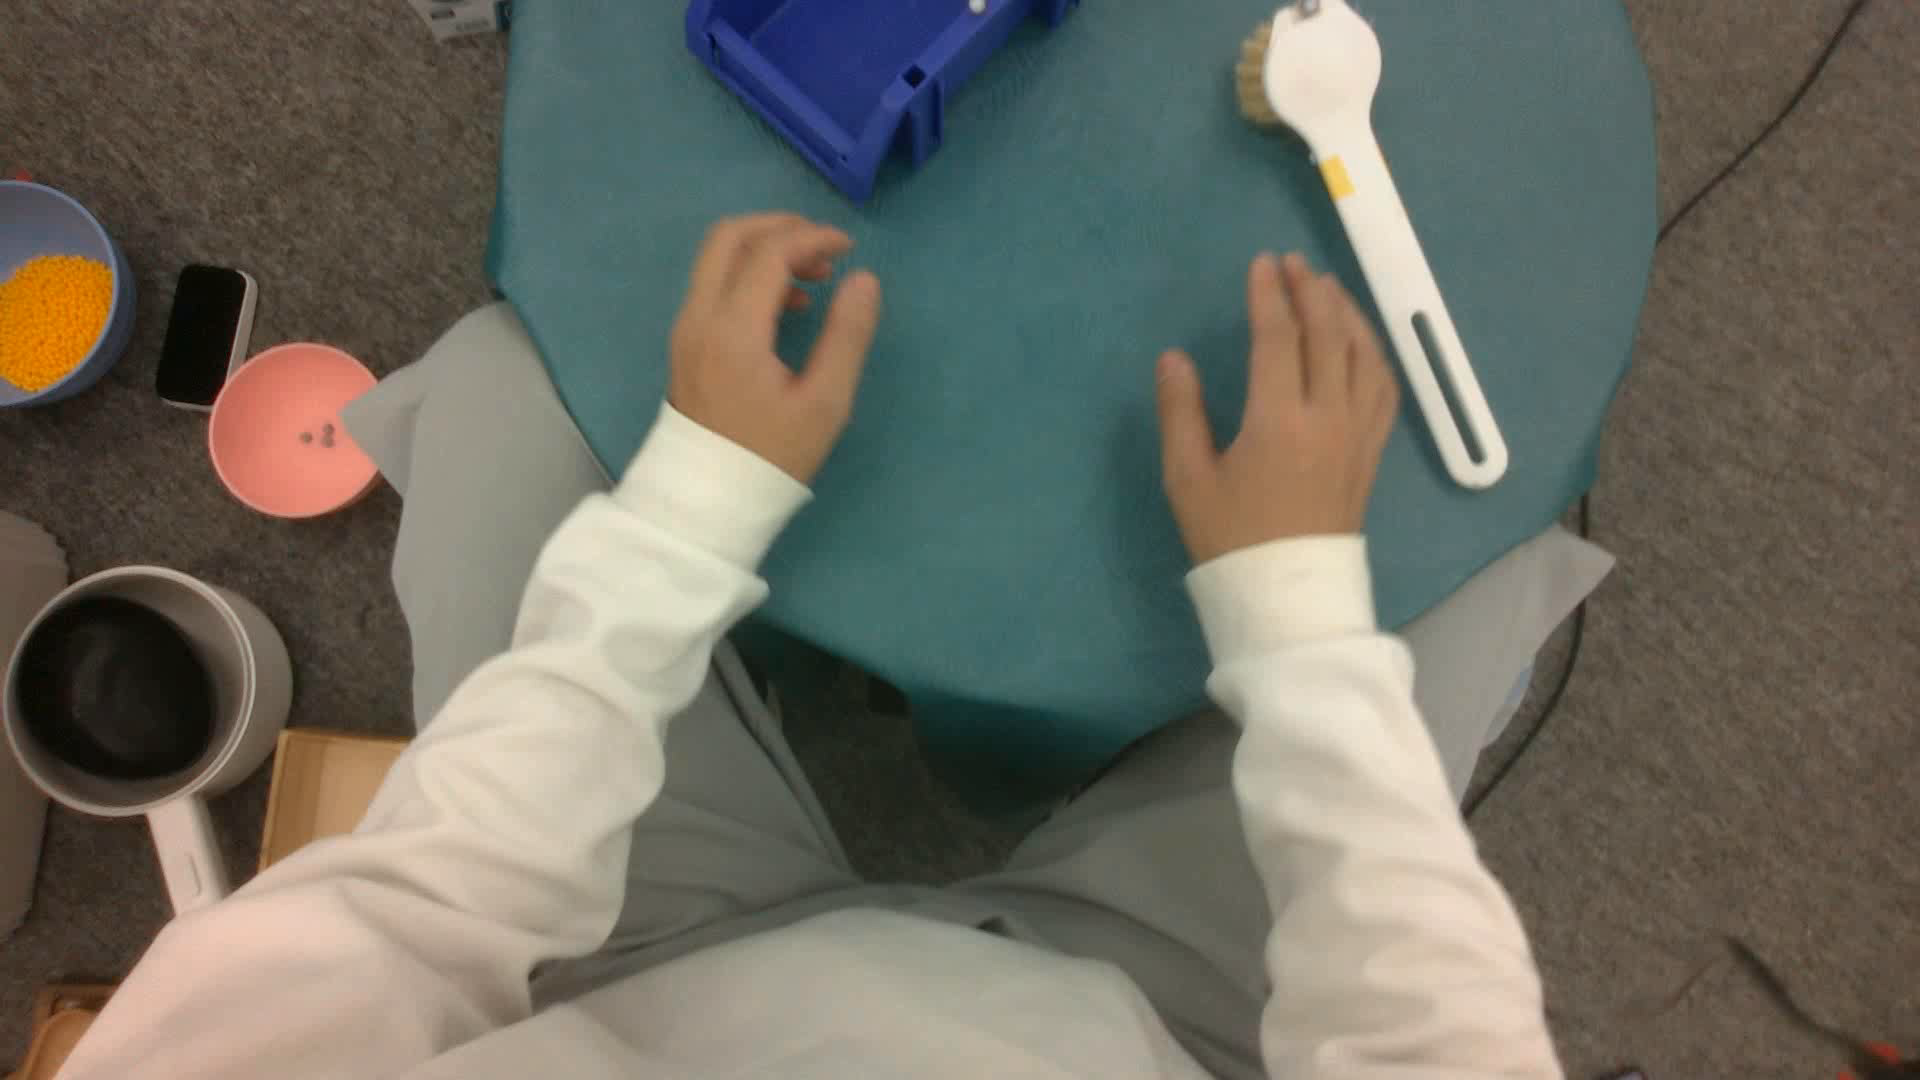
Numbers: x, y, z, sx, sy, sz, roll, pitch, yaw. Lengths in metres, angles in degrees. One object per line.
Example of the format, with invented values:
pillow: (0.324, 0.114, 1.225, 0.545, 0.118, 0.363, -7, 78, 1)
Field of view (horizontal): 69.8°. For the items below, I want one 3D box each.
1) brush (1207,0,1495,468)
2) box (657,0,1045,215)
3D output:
brush: (0.205, -0.160, 0.708, 0.068, 0.056, 0.266, -26, 99, 11)
box: (-0.048, -0.270, 0.686, 0.124, 0.082, 0.179, 40, 83, 4)
